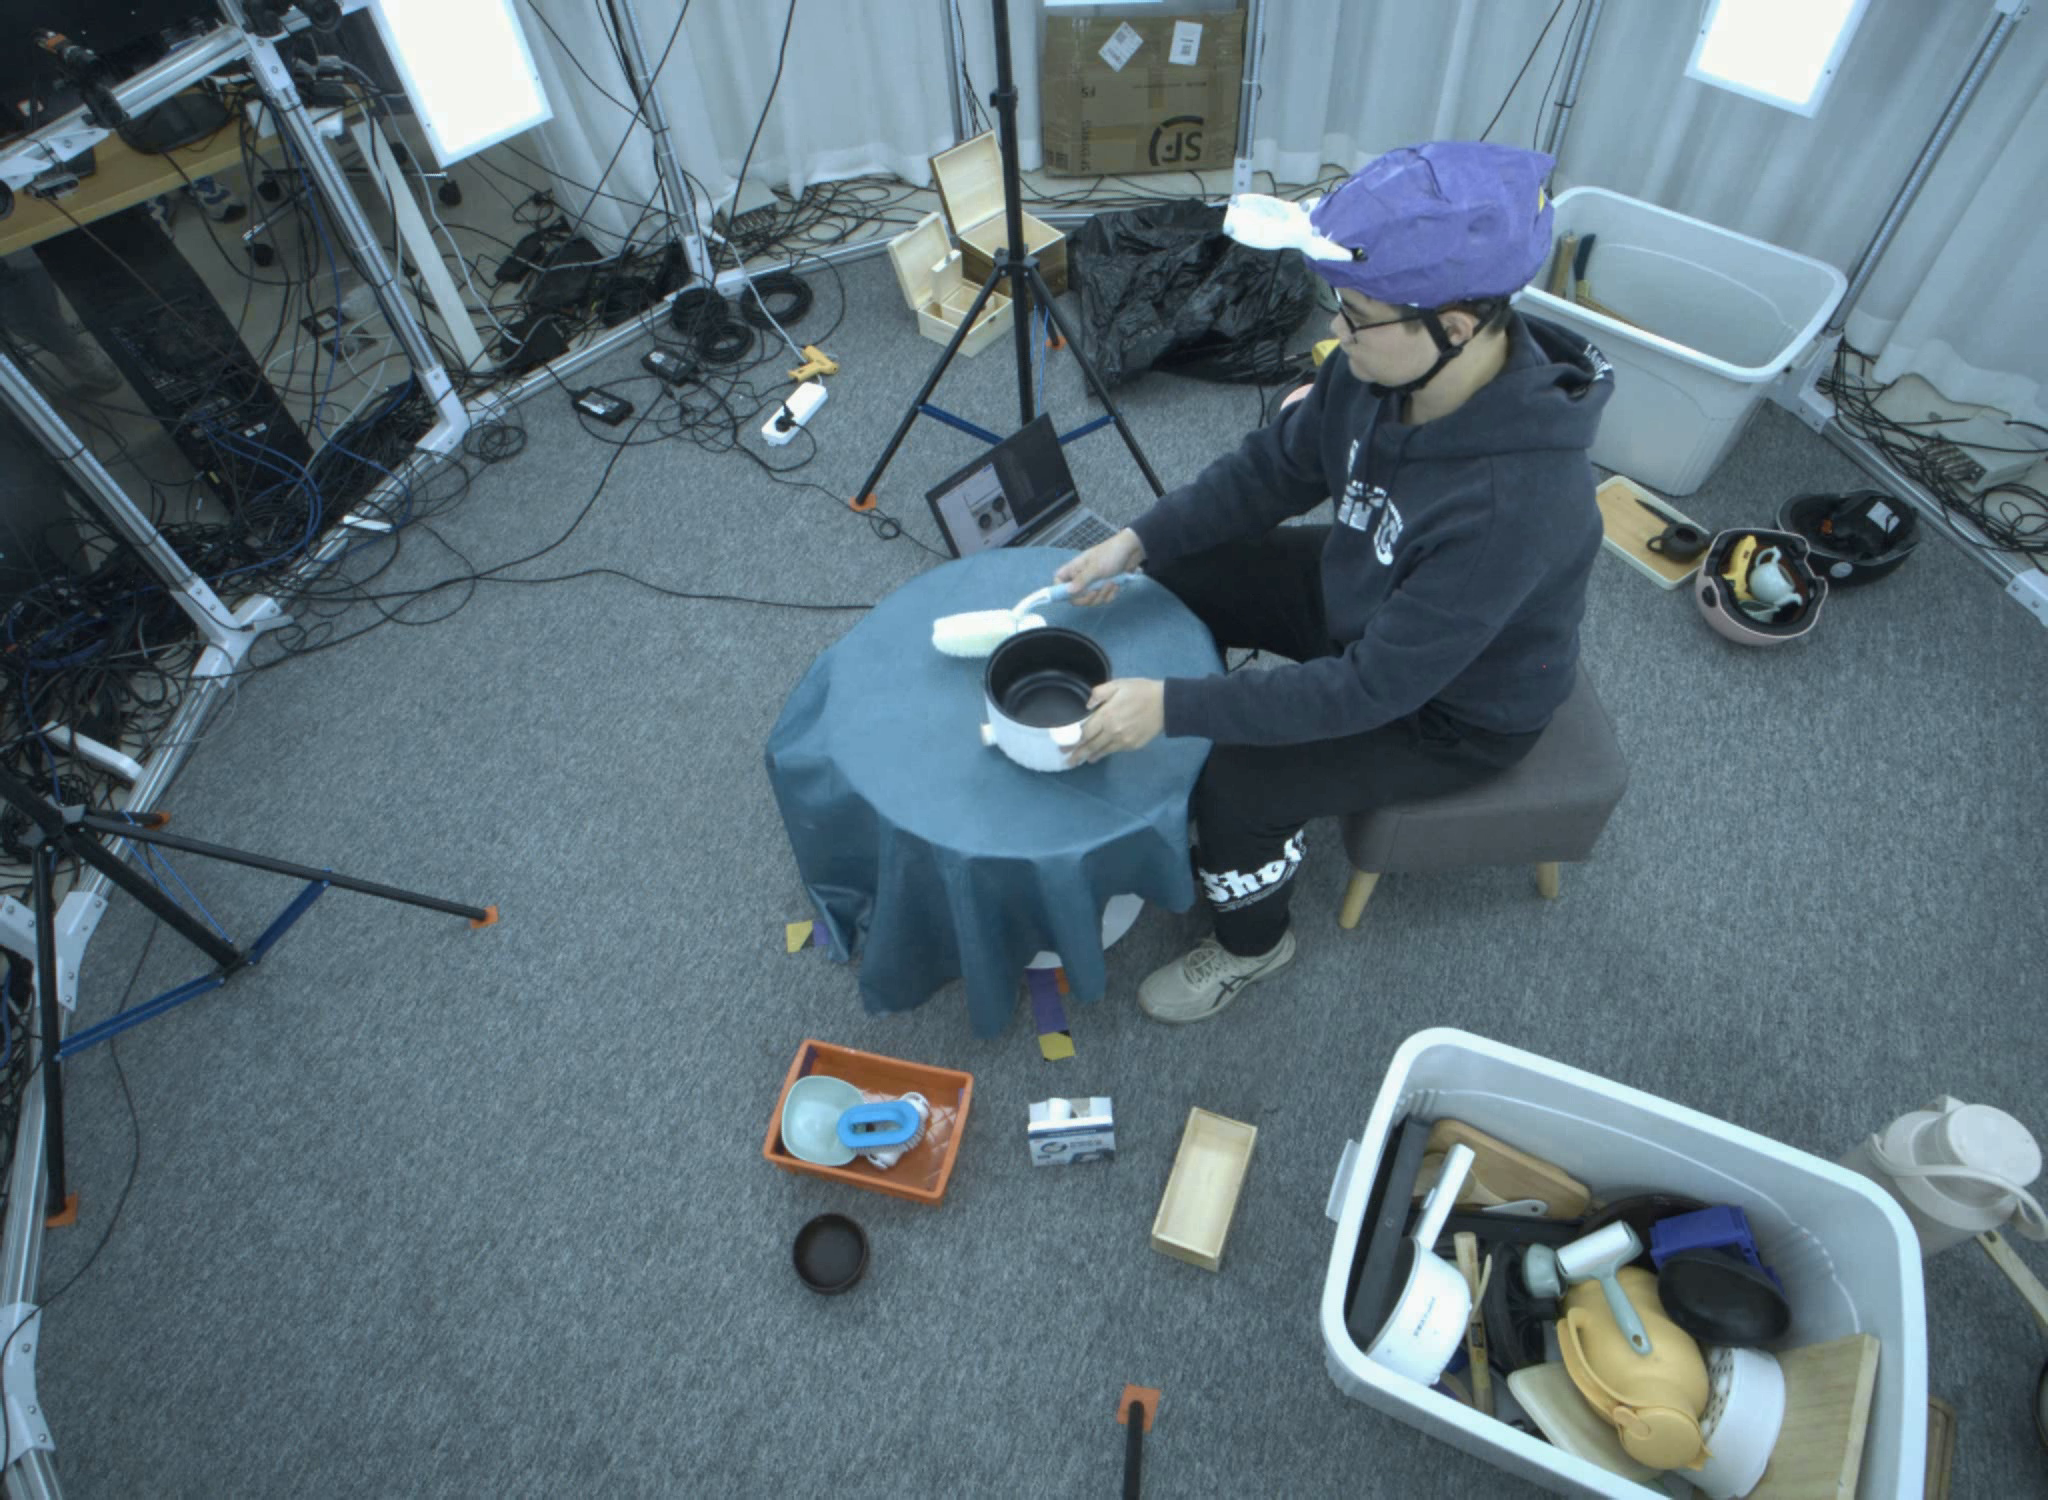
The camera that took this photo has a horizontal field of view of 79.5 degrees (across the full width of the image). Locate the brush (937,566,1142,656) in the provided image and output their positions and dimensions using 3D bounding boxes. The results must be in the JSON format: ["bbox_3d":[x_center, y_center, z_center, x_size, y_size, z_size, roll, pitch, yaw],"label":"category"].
[{"bbox_3d":[0.028,-0.202,1.853,0.326,0.082,0.085,-15,97,-3],"label":"brush"}]

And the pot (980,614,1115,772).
[{"bbox_3d":[0.031,-0.063,1.746,0.192,0.144,0.236,-11,54,-9],"label":"pot"}]
